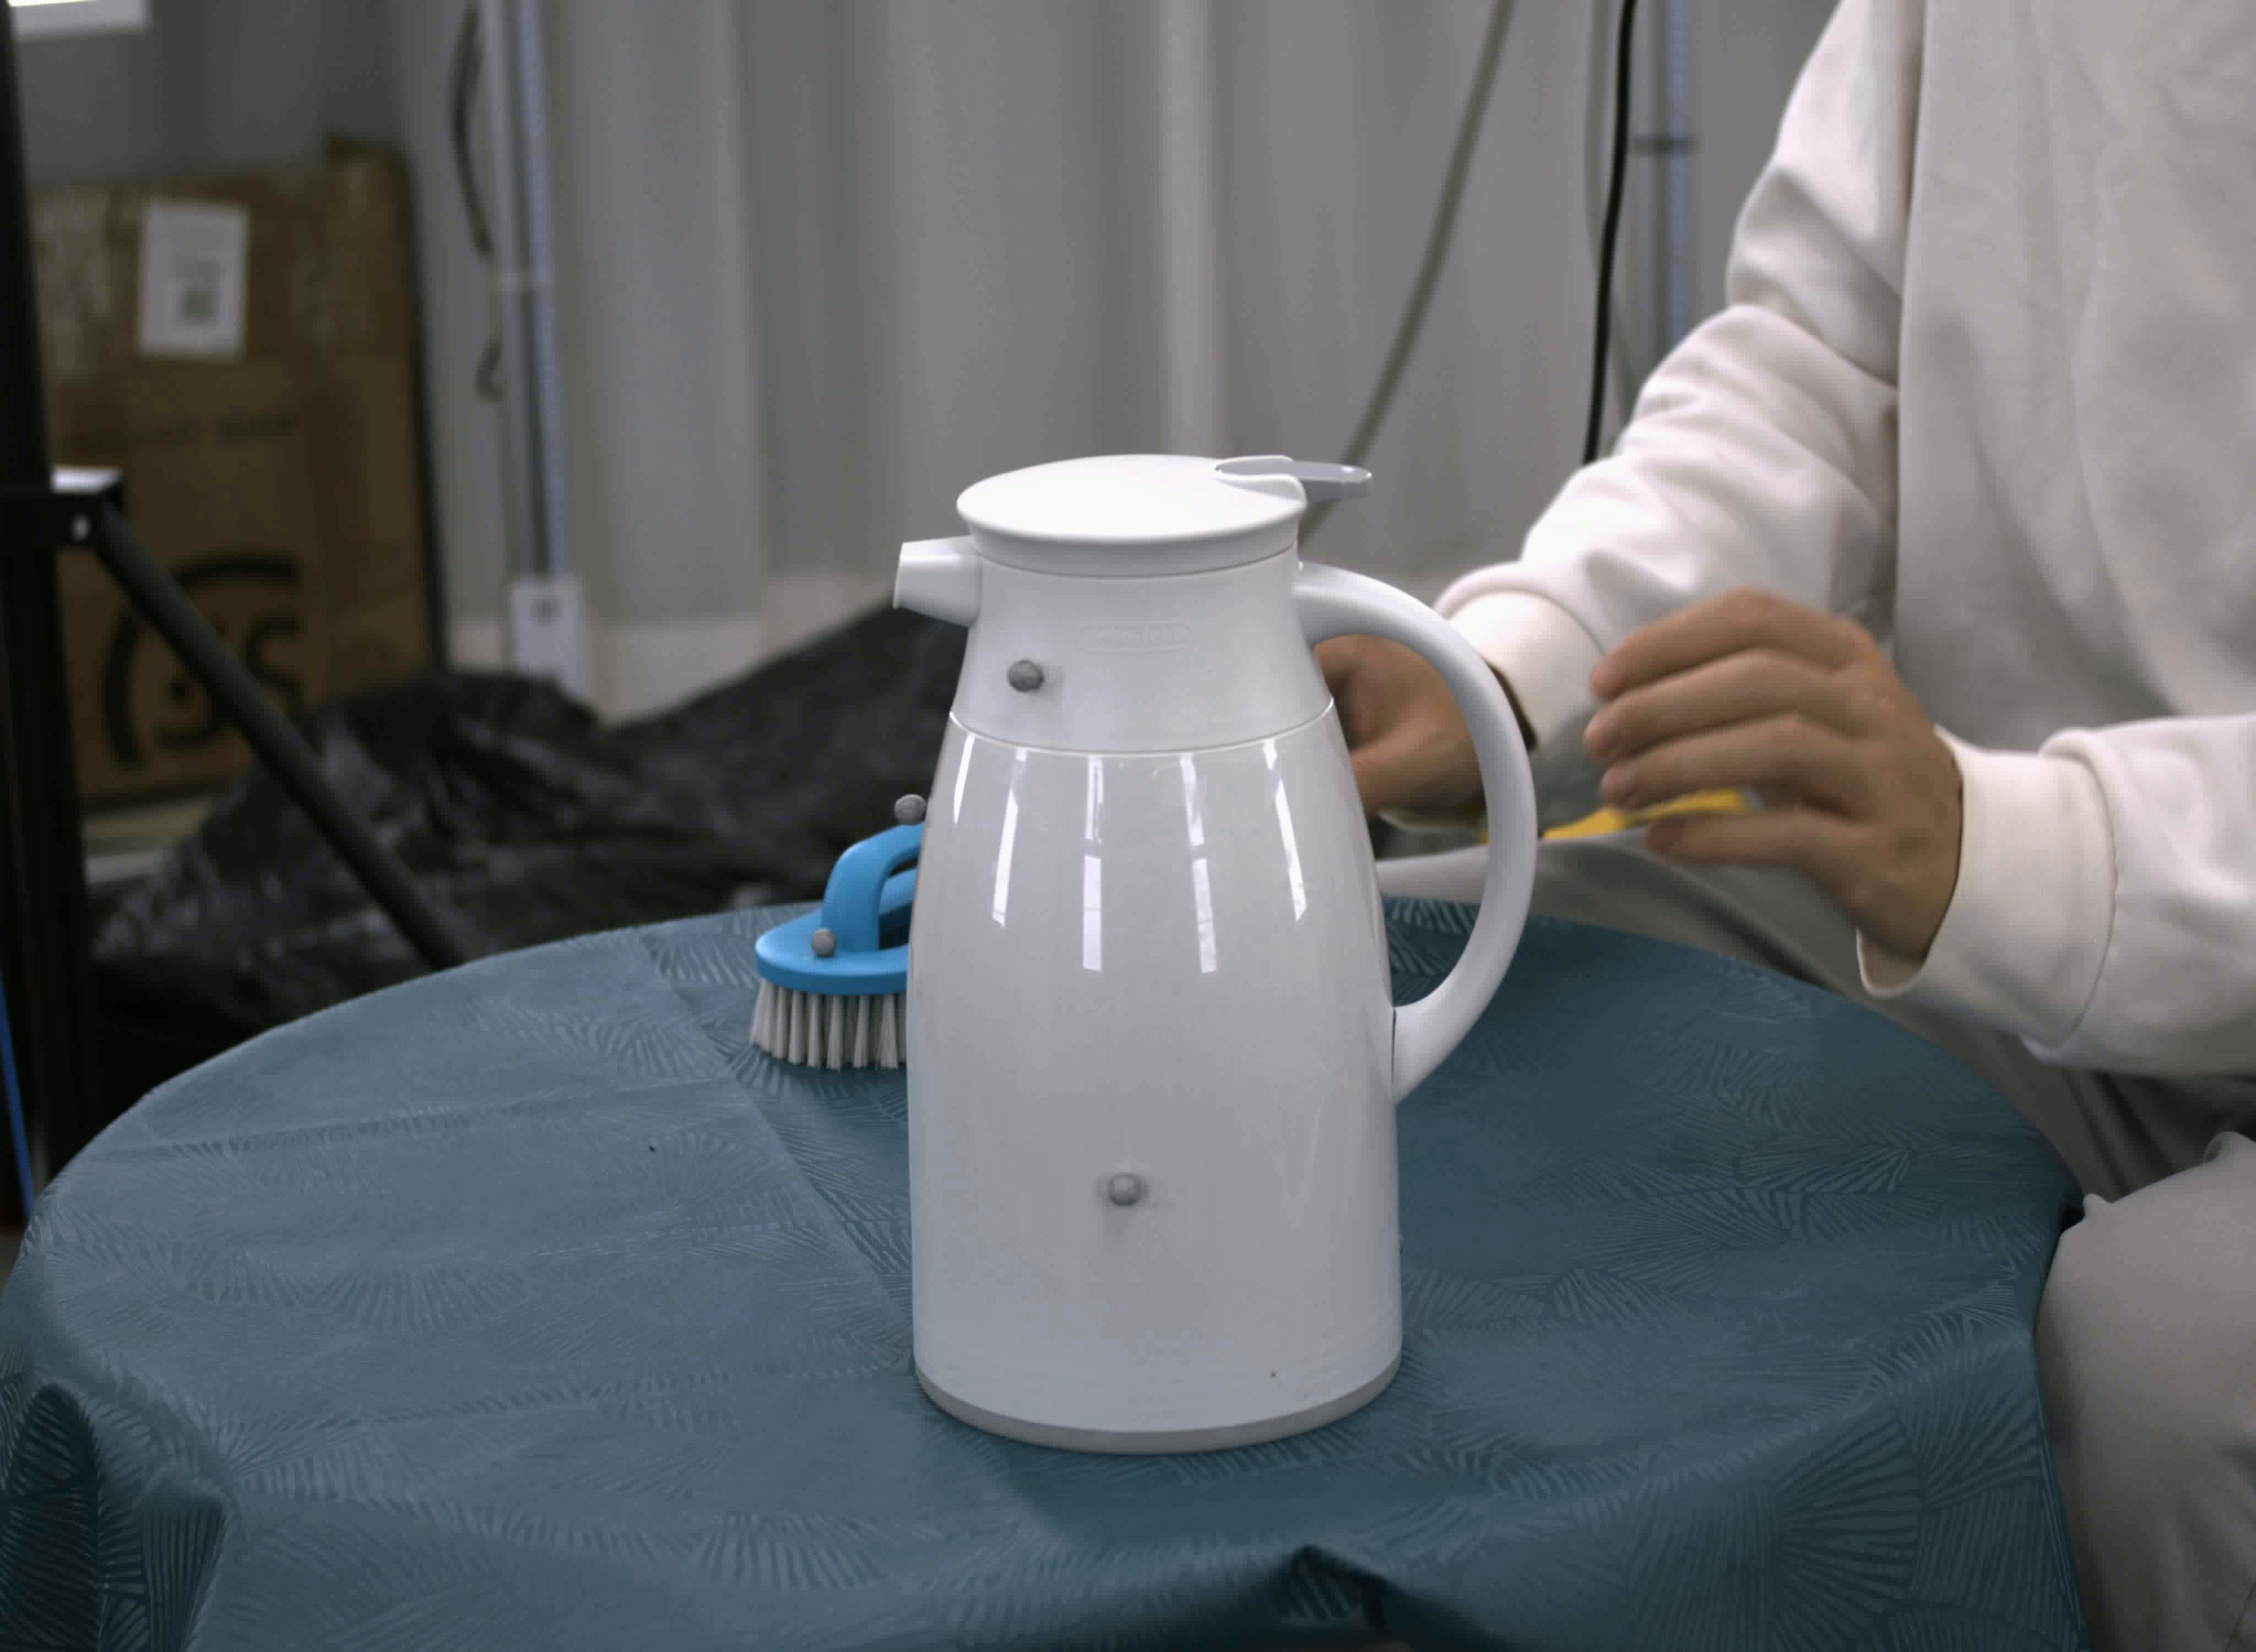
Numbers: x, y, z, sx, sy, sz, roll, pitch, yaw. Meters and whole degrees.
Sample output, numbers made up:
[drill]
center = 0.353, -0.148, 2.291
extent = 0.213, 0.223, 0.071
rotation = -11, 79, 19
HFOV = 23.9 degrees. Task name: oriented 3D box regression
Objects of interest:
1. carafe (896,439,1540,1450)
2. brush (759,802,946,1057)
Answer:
[carafe]
center = 0.024, 0.023, 1.397
extent = 0.167, 0.248, 0.133
rotation = -1, 15, 1
[brush]
center = -0.064, 0.028, 1.732
extent = 0.086, 0.064, 0.139
rotation = 4, 16, 36
